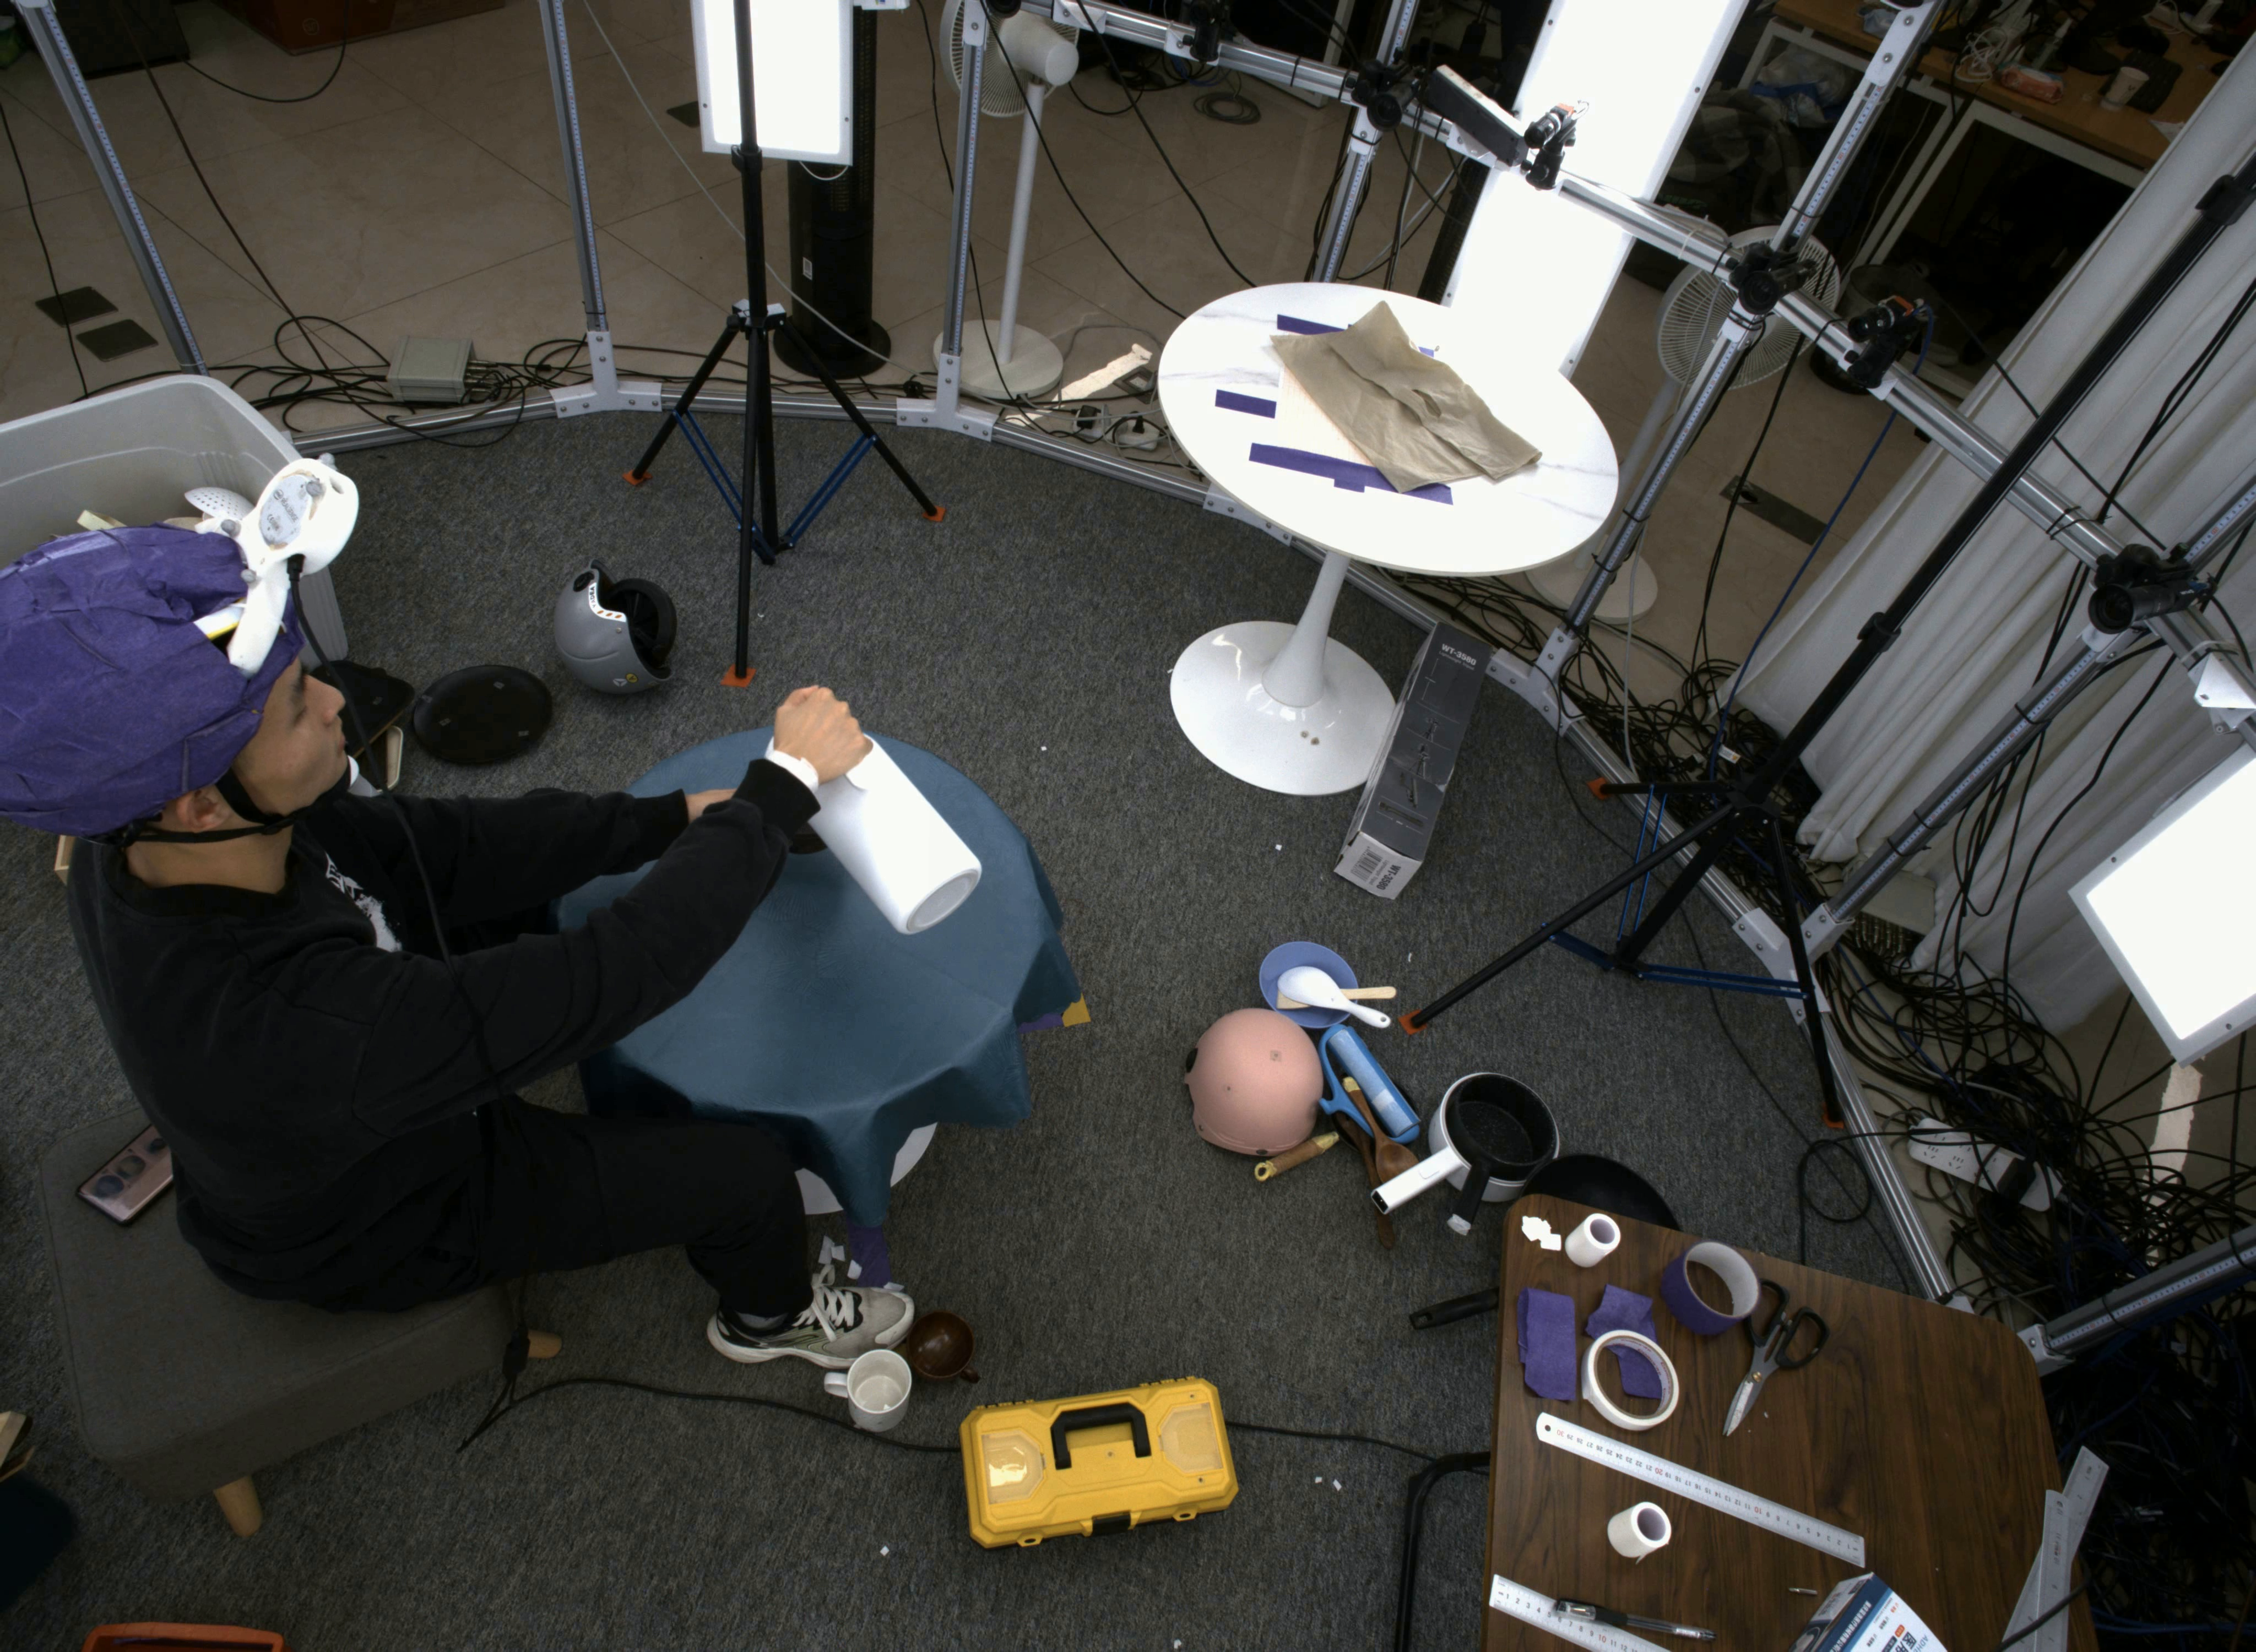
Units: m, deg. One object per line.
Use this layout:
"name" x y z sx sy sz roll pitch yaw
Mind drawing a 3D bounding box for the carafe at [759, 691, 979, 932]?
"carafe" -0.287 -0.025 1.427 0.124 0.175 0.265 -35 75 -22

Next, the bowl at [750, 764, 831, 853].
"bowl" -0.412 -0.017 1.620 0.118 0.071 0.116 11 50 -12
